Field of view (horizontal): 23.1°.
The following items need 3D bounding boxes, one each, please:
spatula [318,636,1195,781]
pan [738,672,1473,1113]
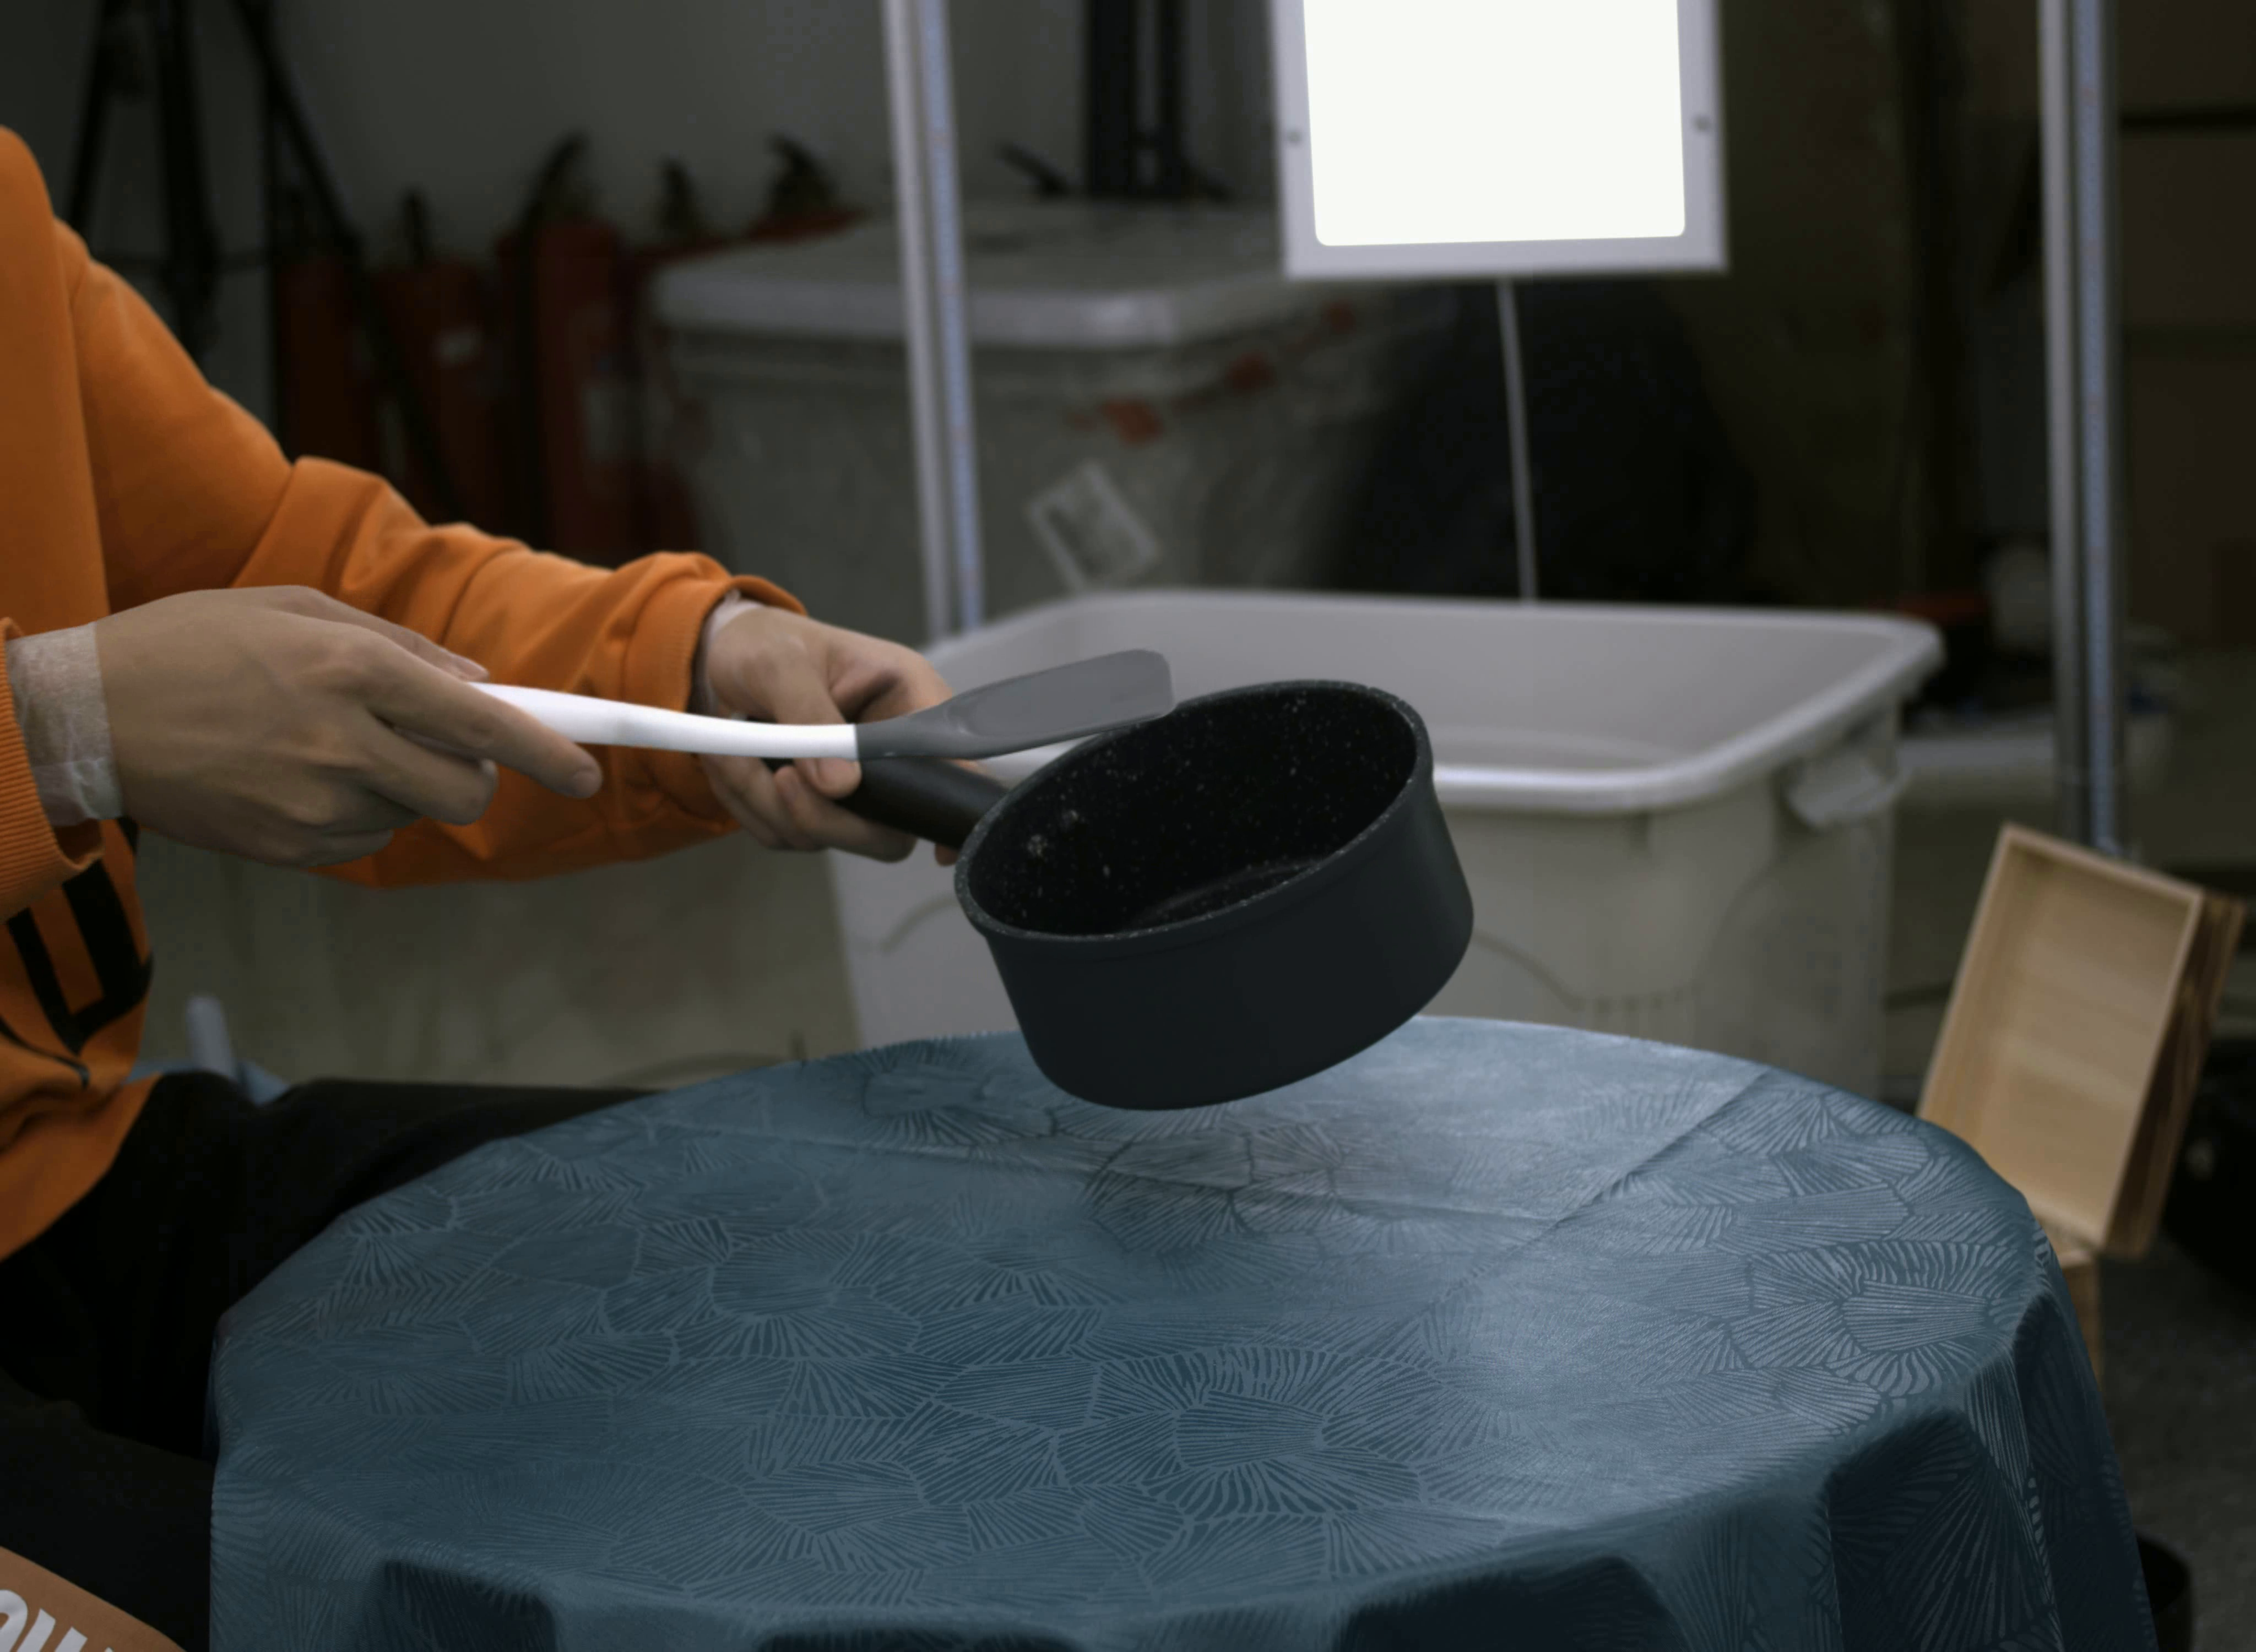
[{"bbox_3d":[-0.121,-0.037,1.813,0.286,0.032,0.058,-3,23,-3],"label":"spatula"},{"bbox_3d":[-0.021,0.011,1.956,0.168,0.086,0.335,-36,30,-30],"label":"pan"}]
